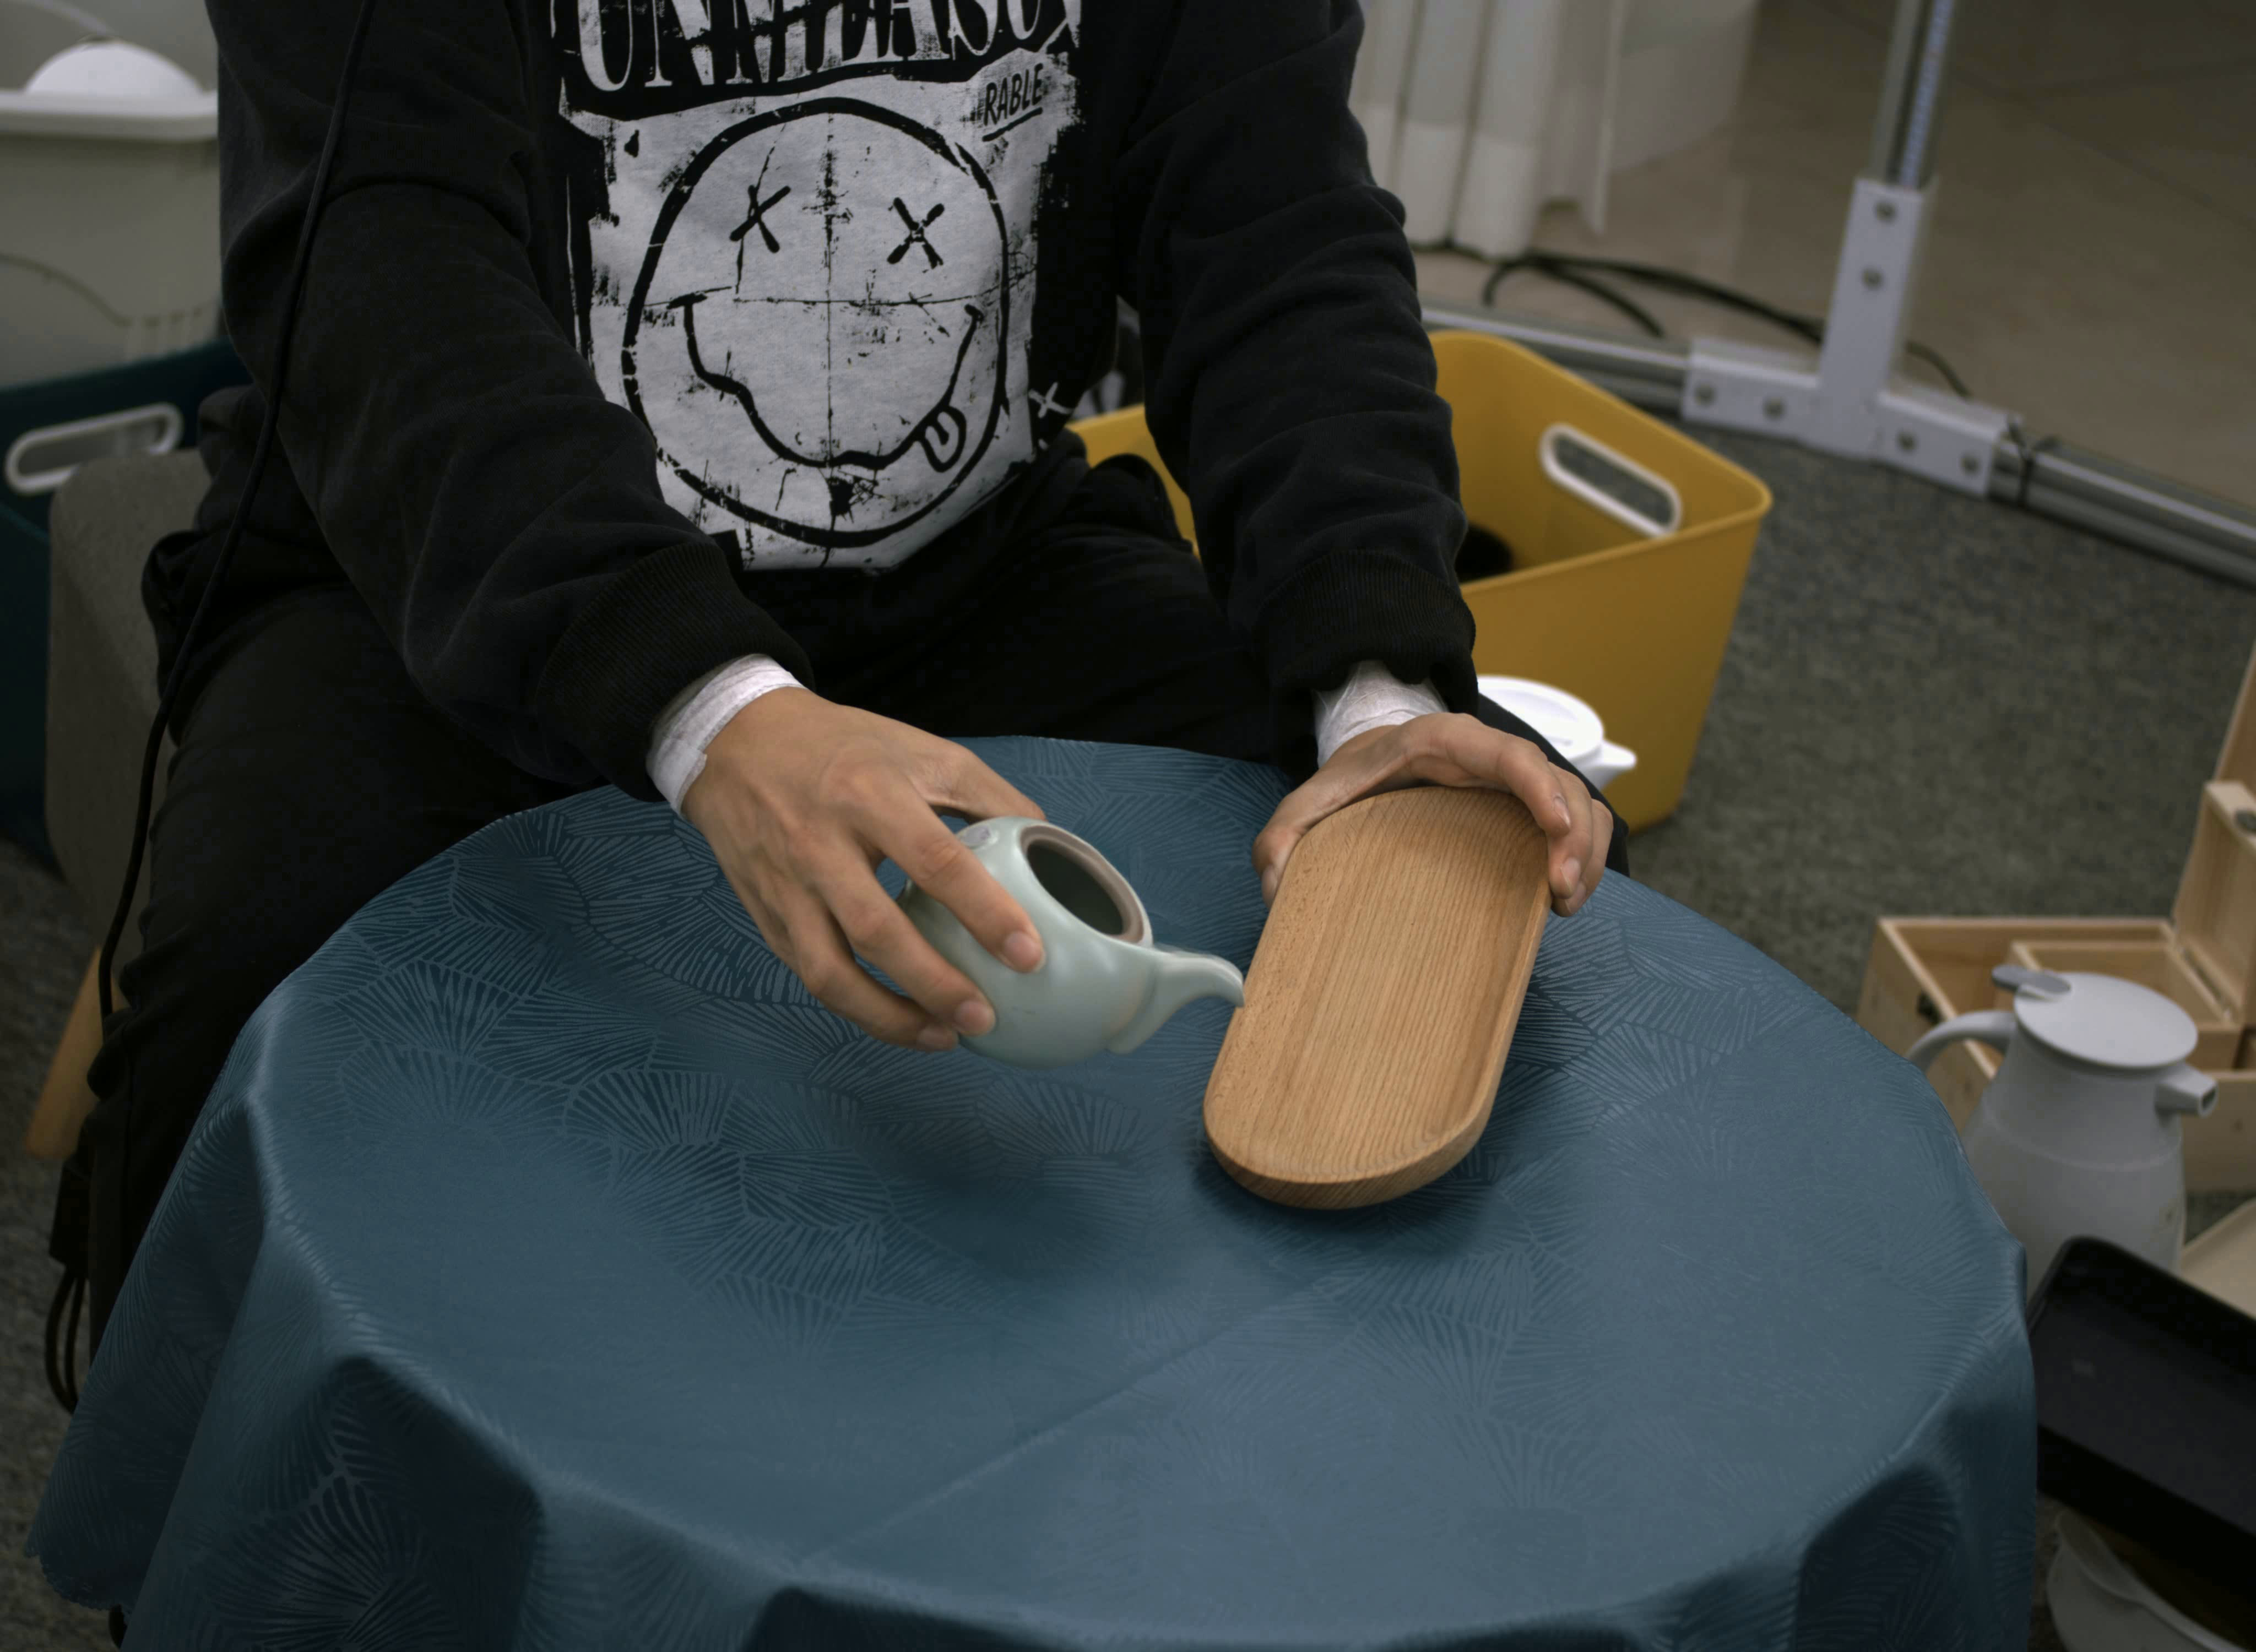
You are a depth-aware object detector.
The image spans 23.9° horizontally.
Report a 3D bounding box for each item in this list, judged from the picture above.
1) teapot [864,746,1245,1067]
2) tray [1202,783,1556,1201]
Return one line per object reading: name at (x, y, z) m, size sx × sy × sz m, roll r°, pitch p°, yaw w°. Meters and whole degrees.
teapot at (-0.035, 0.037, 1.784) m, size 0.143 × 0.074 × 0.089 m, roll 38°, pitch 21°, yaw -15°
tray at (0.091, 0.056, 1.881) m, size 0.102 × 0.020 × 0.232 m, roll 0°, pitch 34°, yaw 16°
